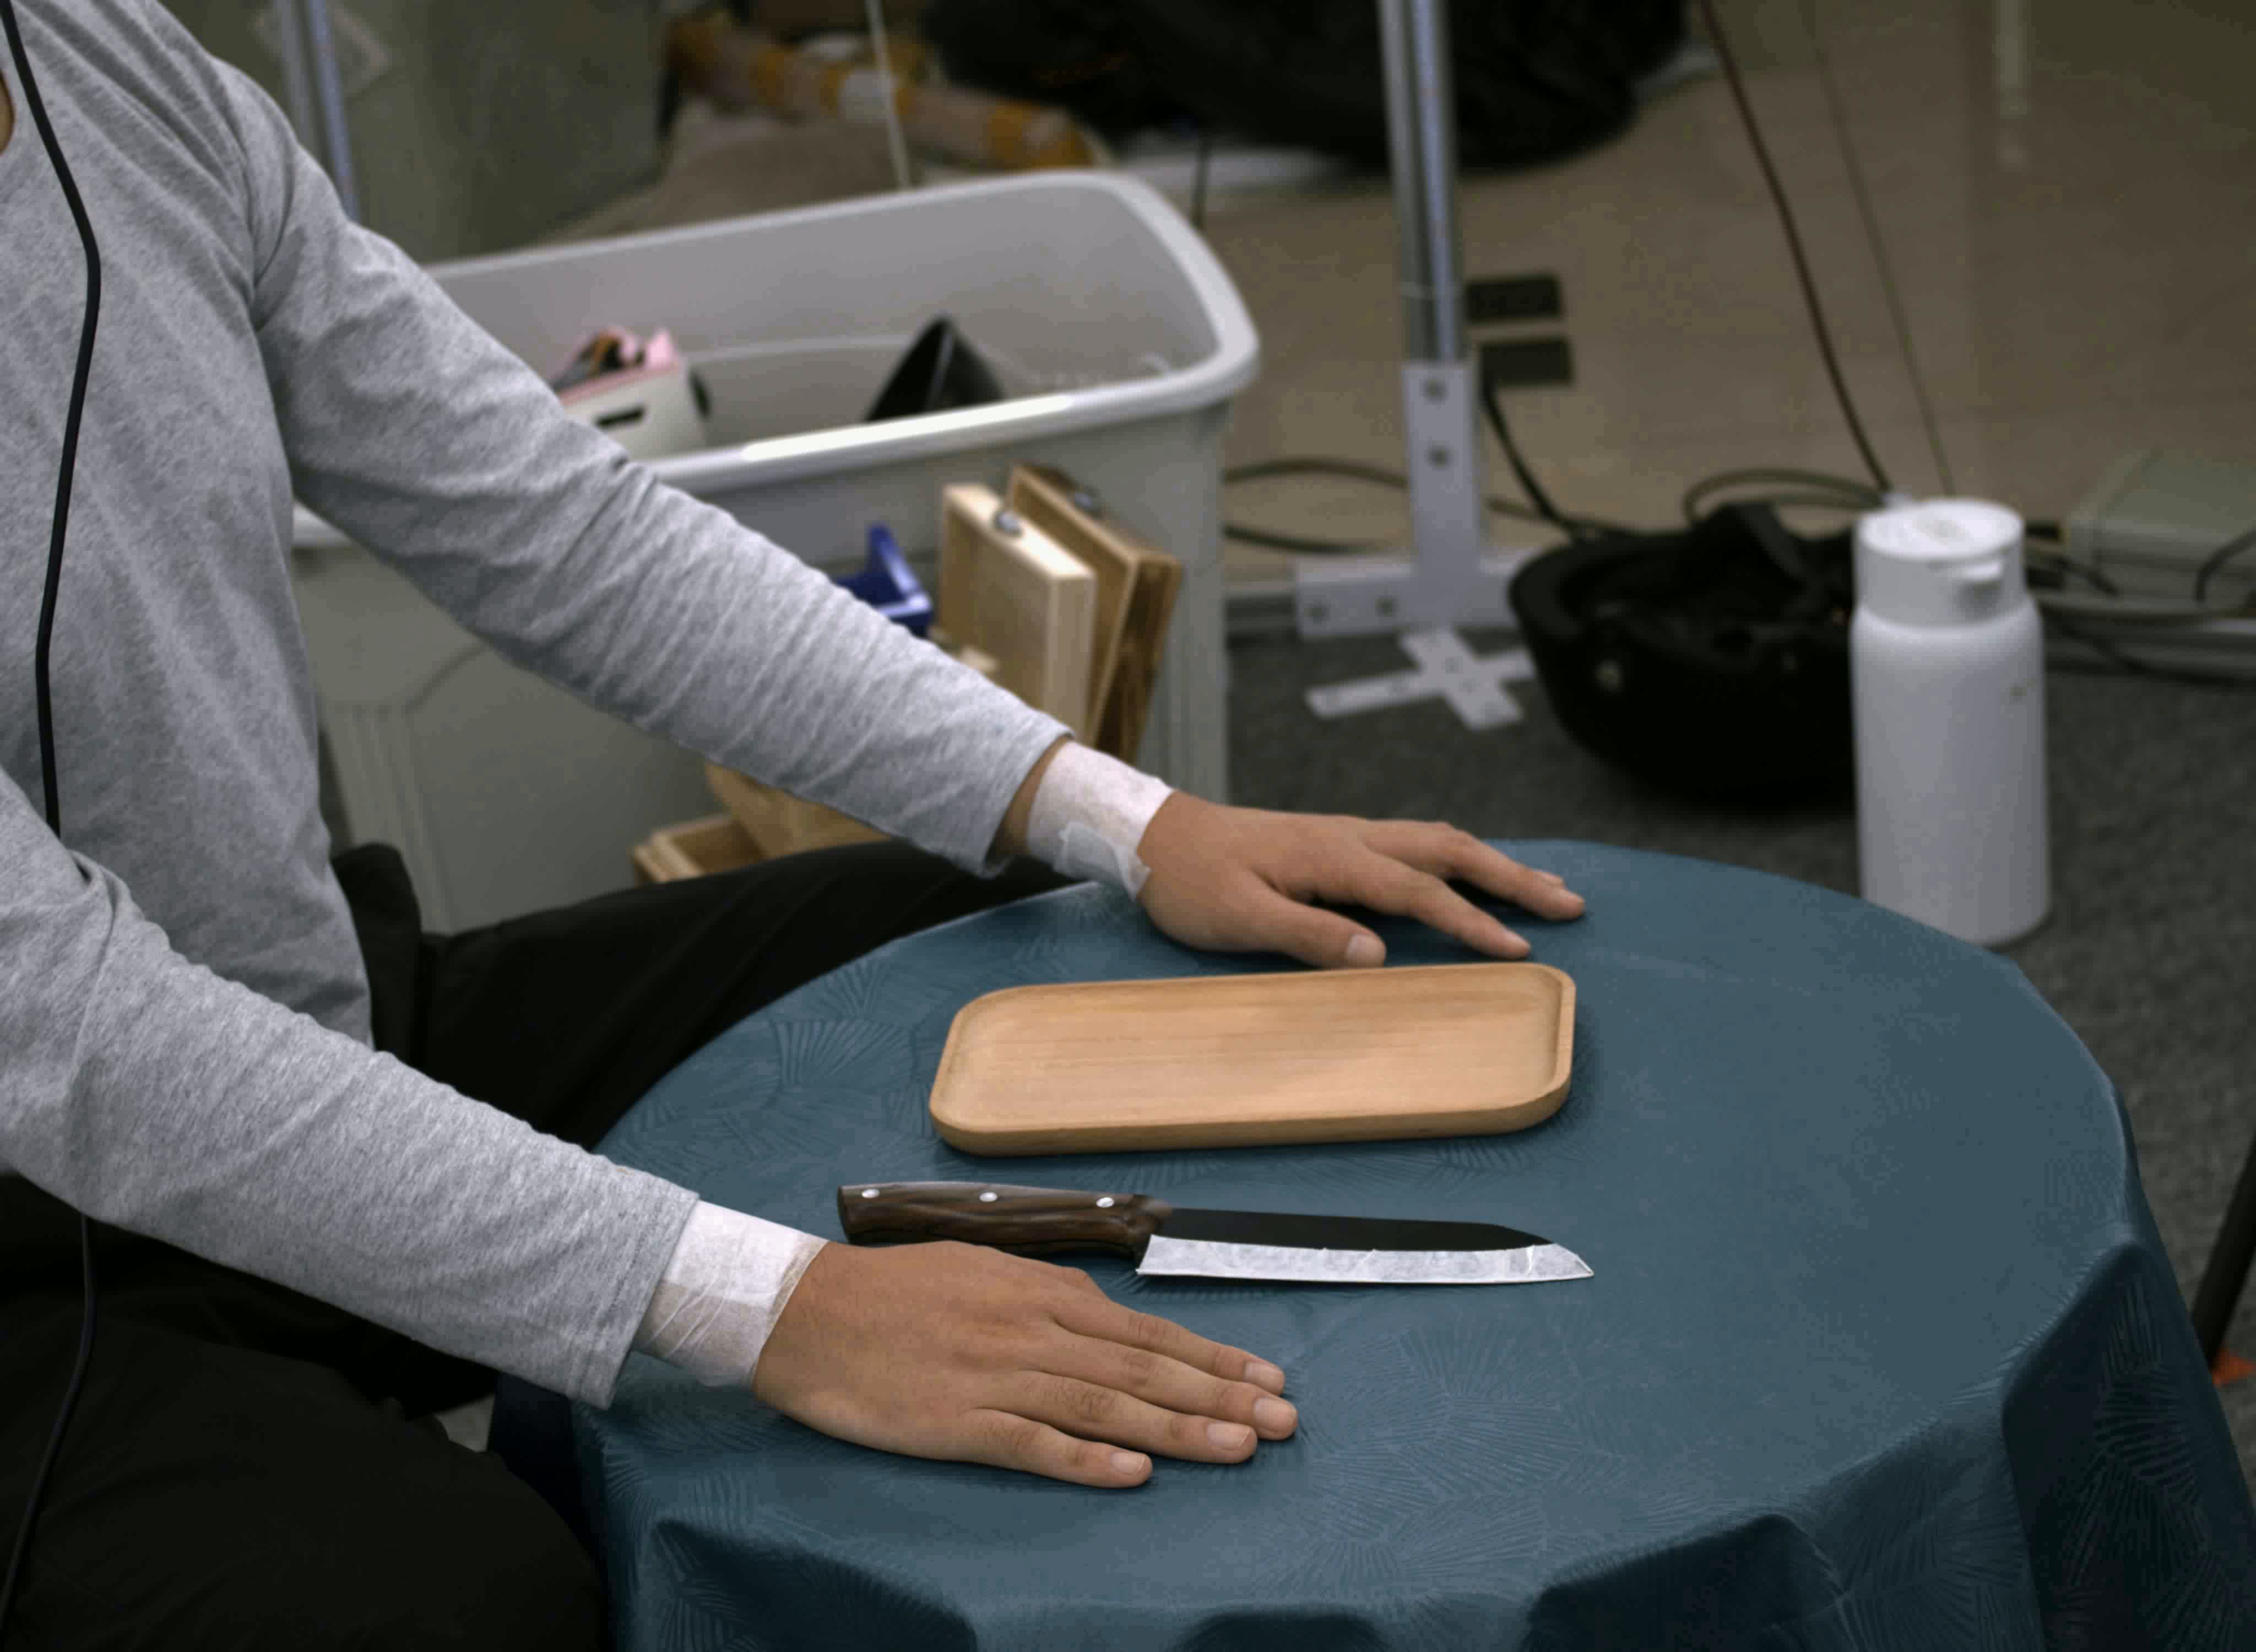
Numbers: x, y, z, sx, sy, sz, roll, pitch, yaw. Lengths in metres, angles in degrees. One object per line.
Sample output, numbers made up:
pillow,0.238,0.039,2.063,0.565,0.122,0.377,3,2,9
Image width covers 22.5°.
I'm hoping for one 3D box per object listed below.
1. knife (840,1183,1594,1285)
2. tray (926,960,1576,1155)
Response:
knife,0.030,0.153,2.097,0.288,0.020,0.049,3,32,14
tray,0.050,0.091,2.224,0.250,0.023,0.129,-3,23,10
